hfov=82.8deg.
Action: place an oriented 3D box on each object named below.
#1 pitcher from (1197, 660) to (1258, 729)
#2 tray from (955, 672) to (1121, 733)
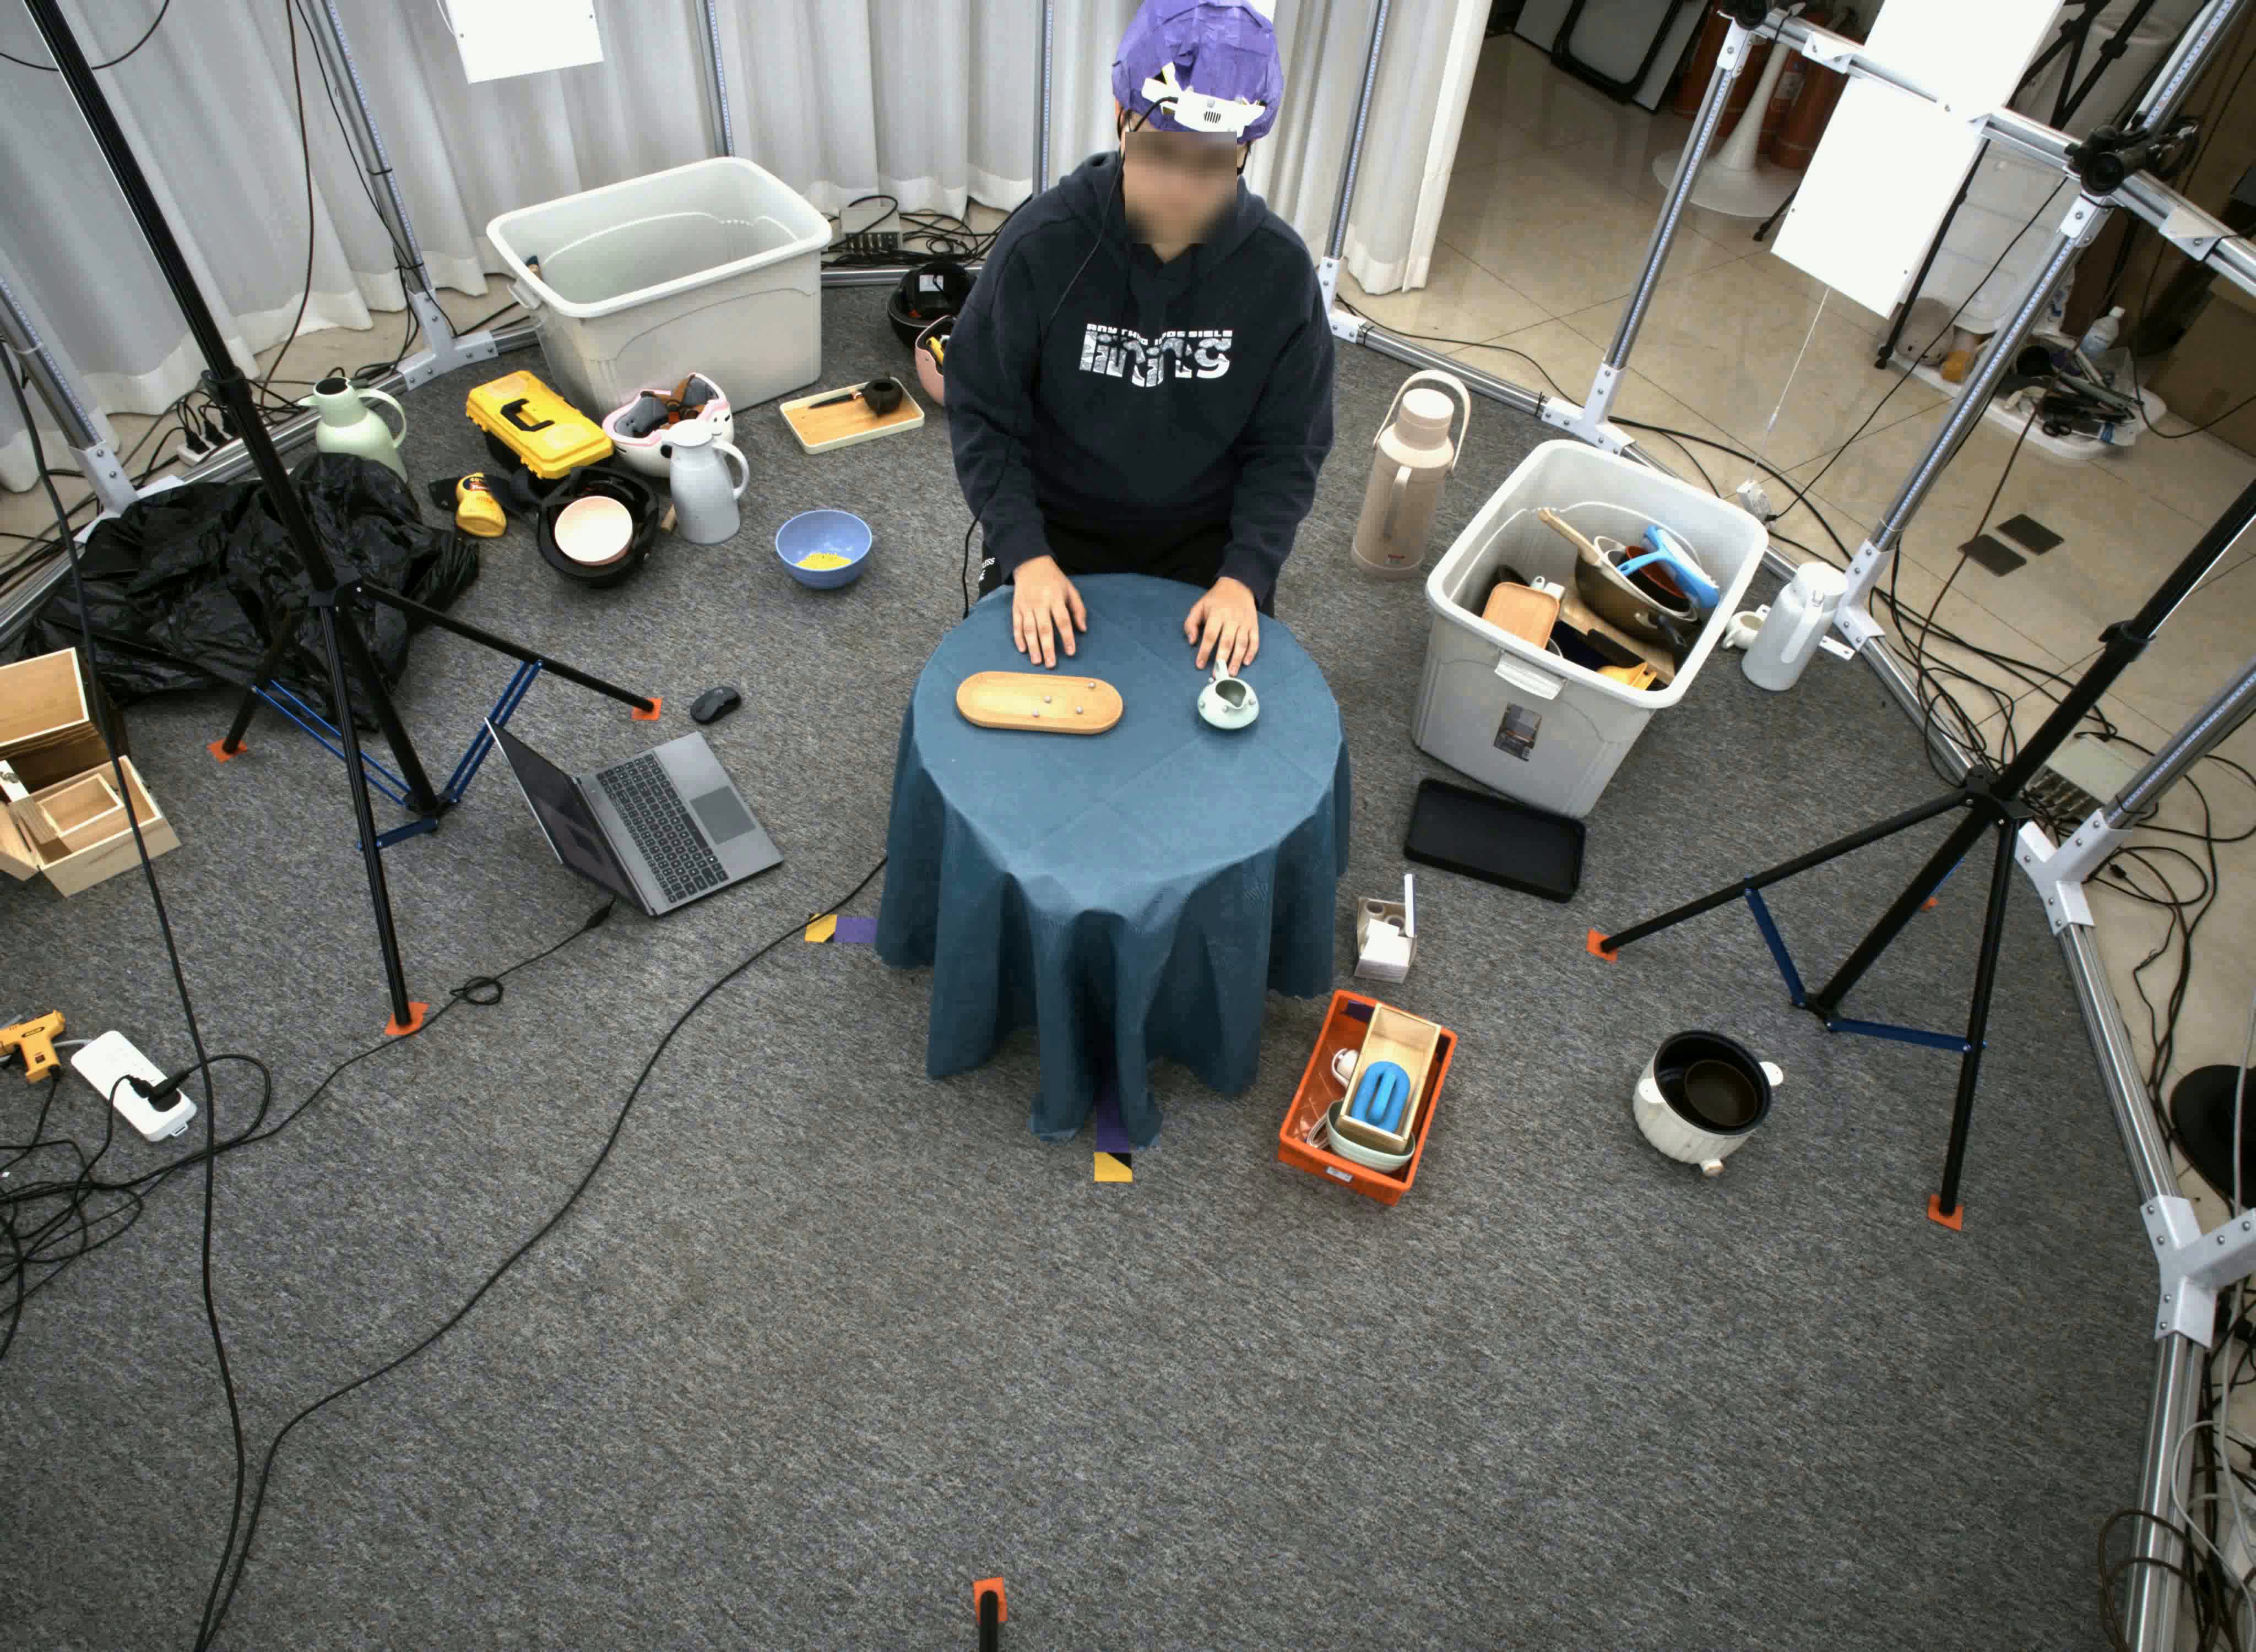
[{"bbox_3d":[0.138,-0.183,1.799,0.086,0.059,0.111,-8,48,-13],"label":"pitcher"},{"bbox_3d":[-0.125,-0.172,1.795,0.231,0.020,0.104,2,48,0],"label":"tray"}]
